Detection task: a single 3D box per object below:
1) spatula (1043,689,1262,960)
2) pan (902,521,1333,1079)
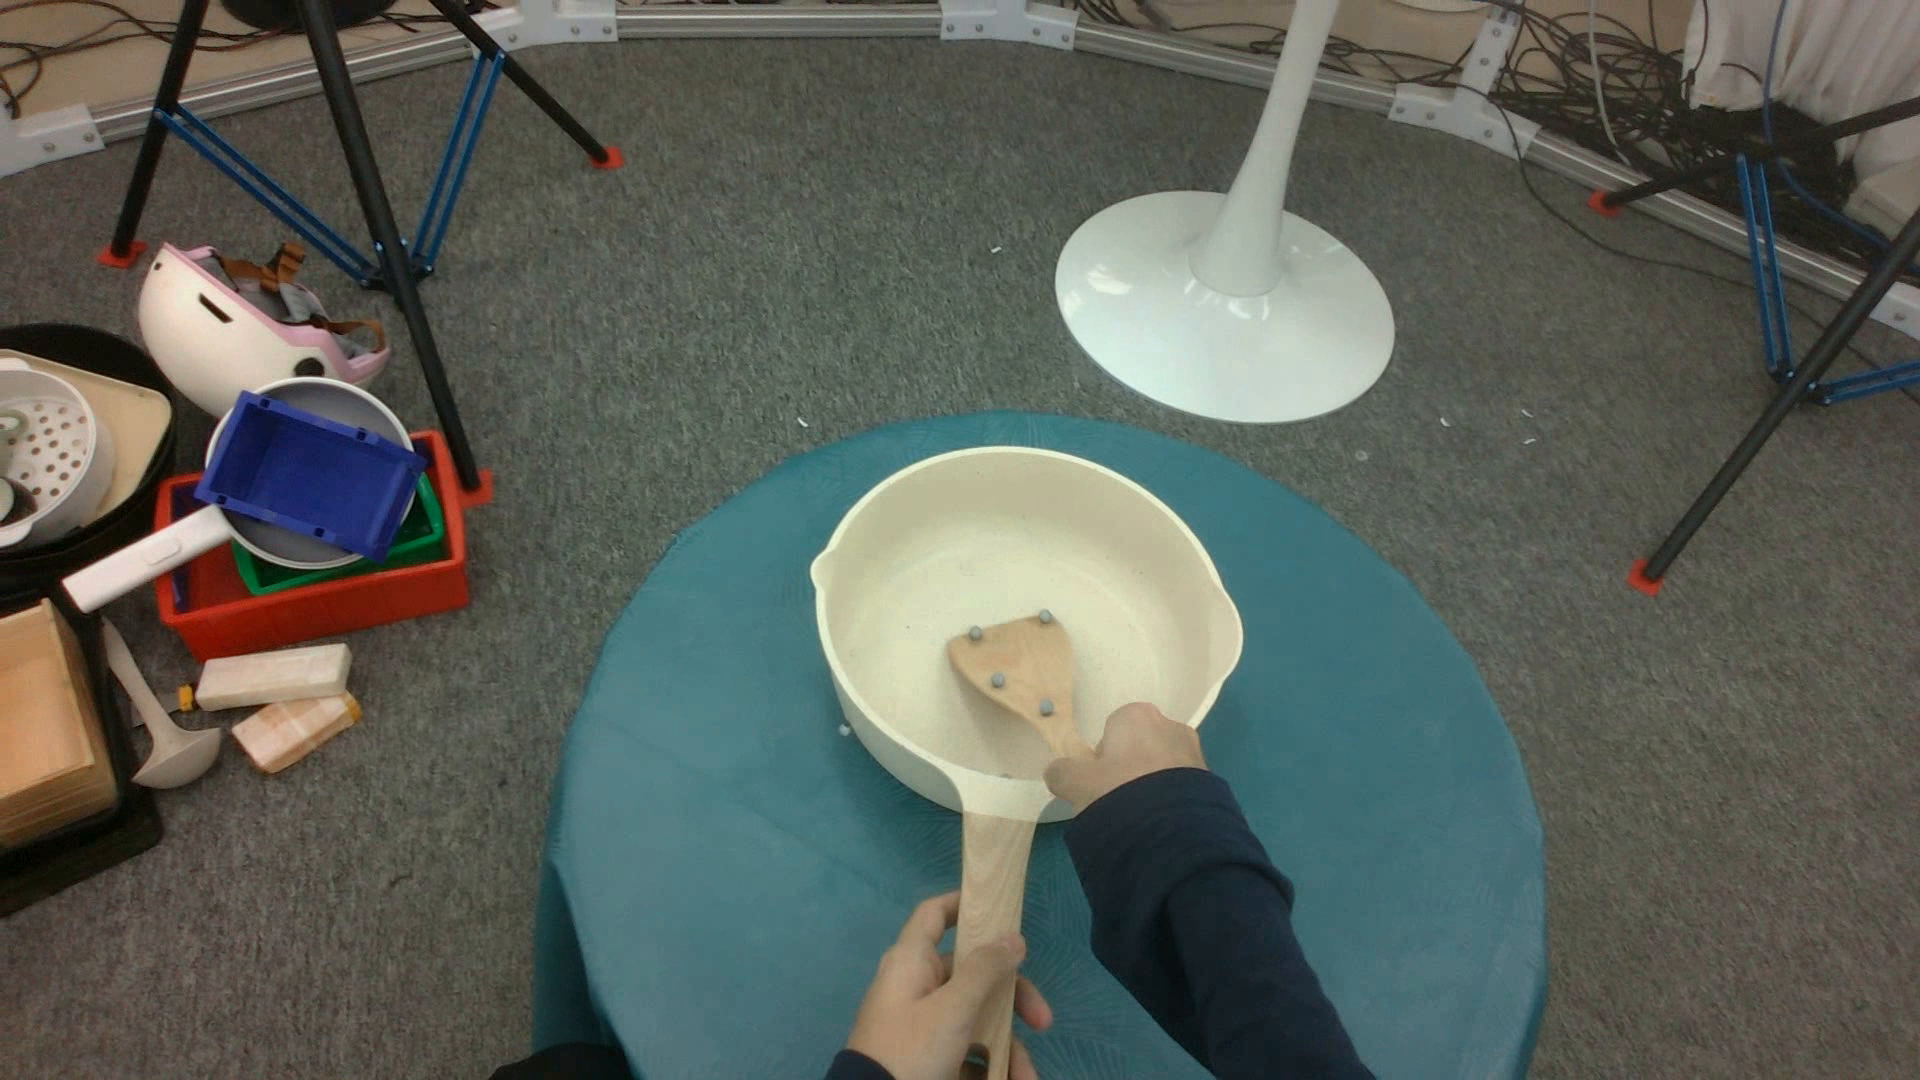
[{"bbox_3d":[0.106,0.144,0.760,0.080,0.016,0.328,-7,12,-4],"label":"spatula"},{"bbox_3d":[0.076,0.173,0.795,0.263,0.101,0.437,10,49,4],"label":"pan"}]
